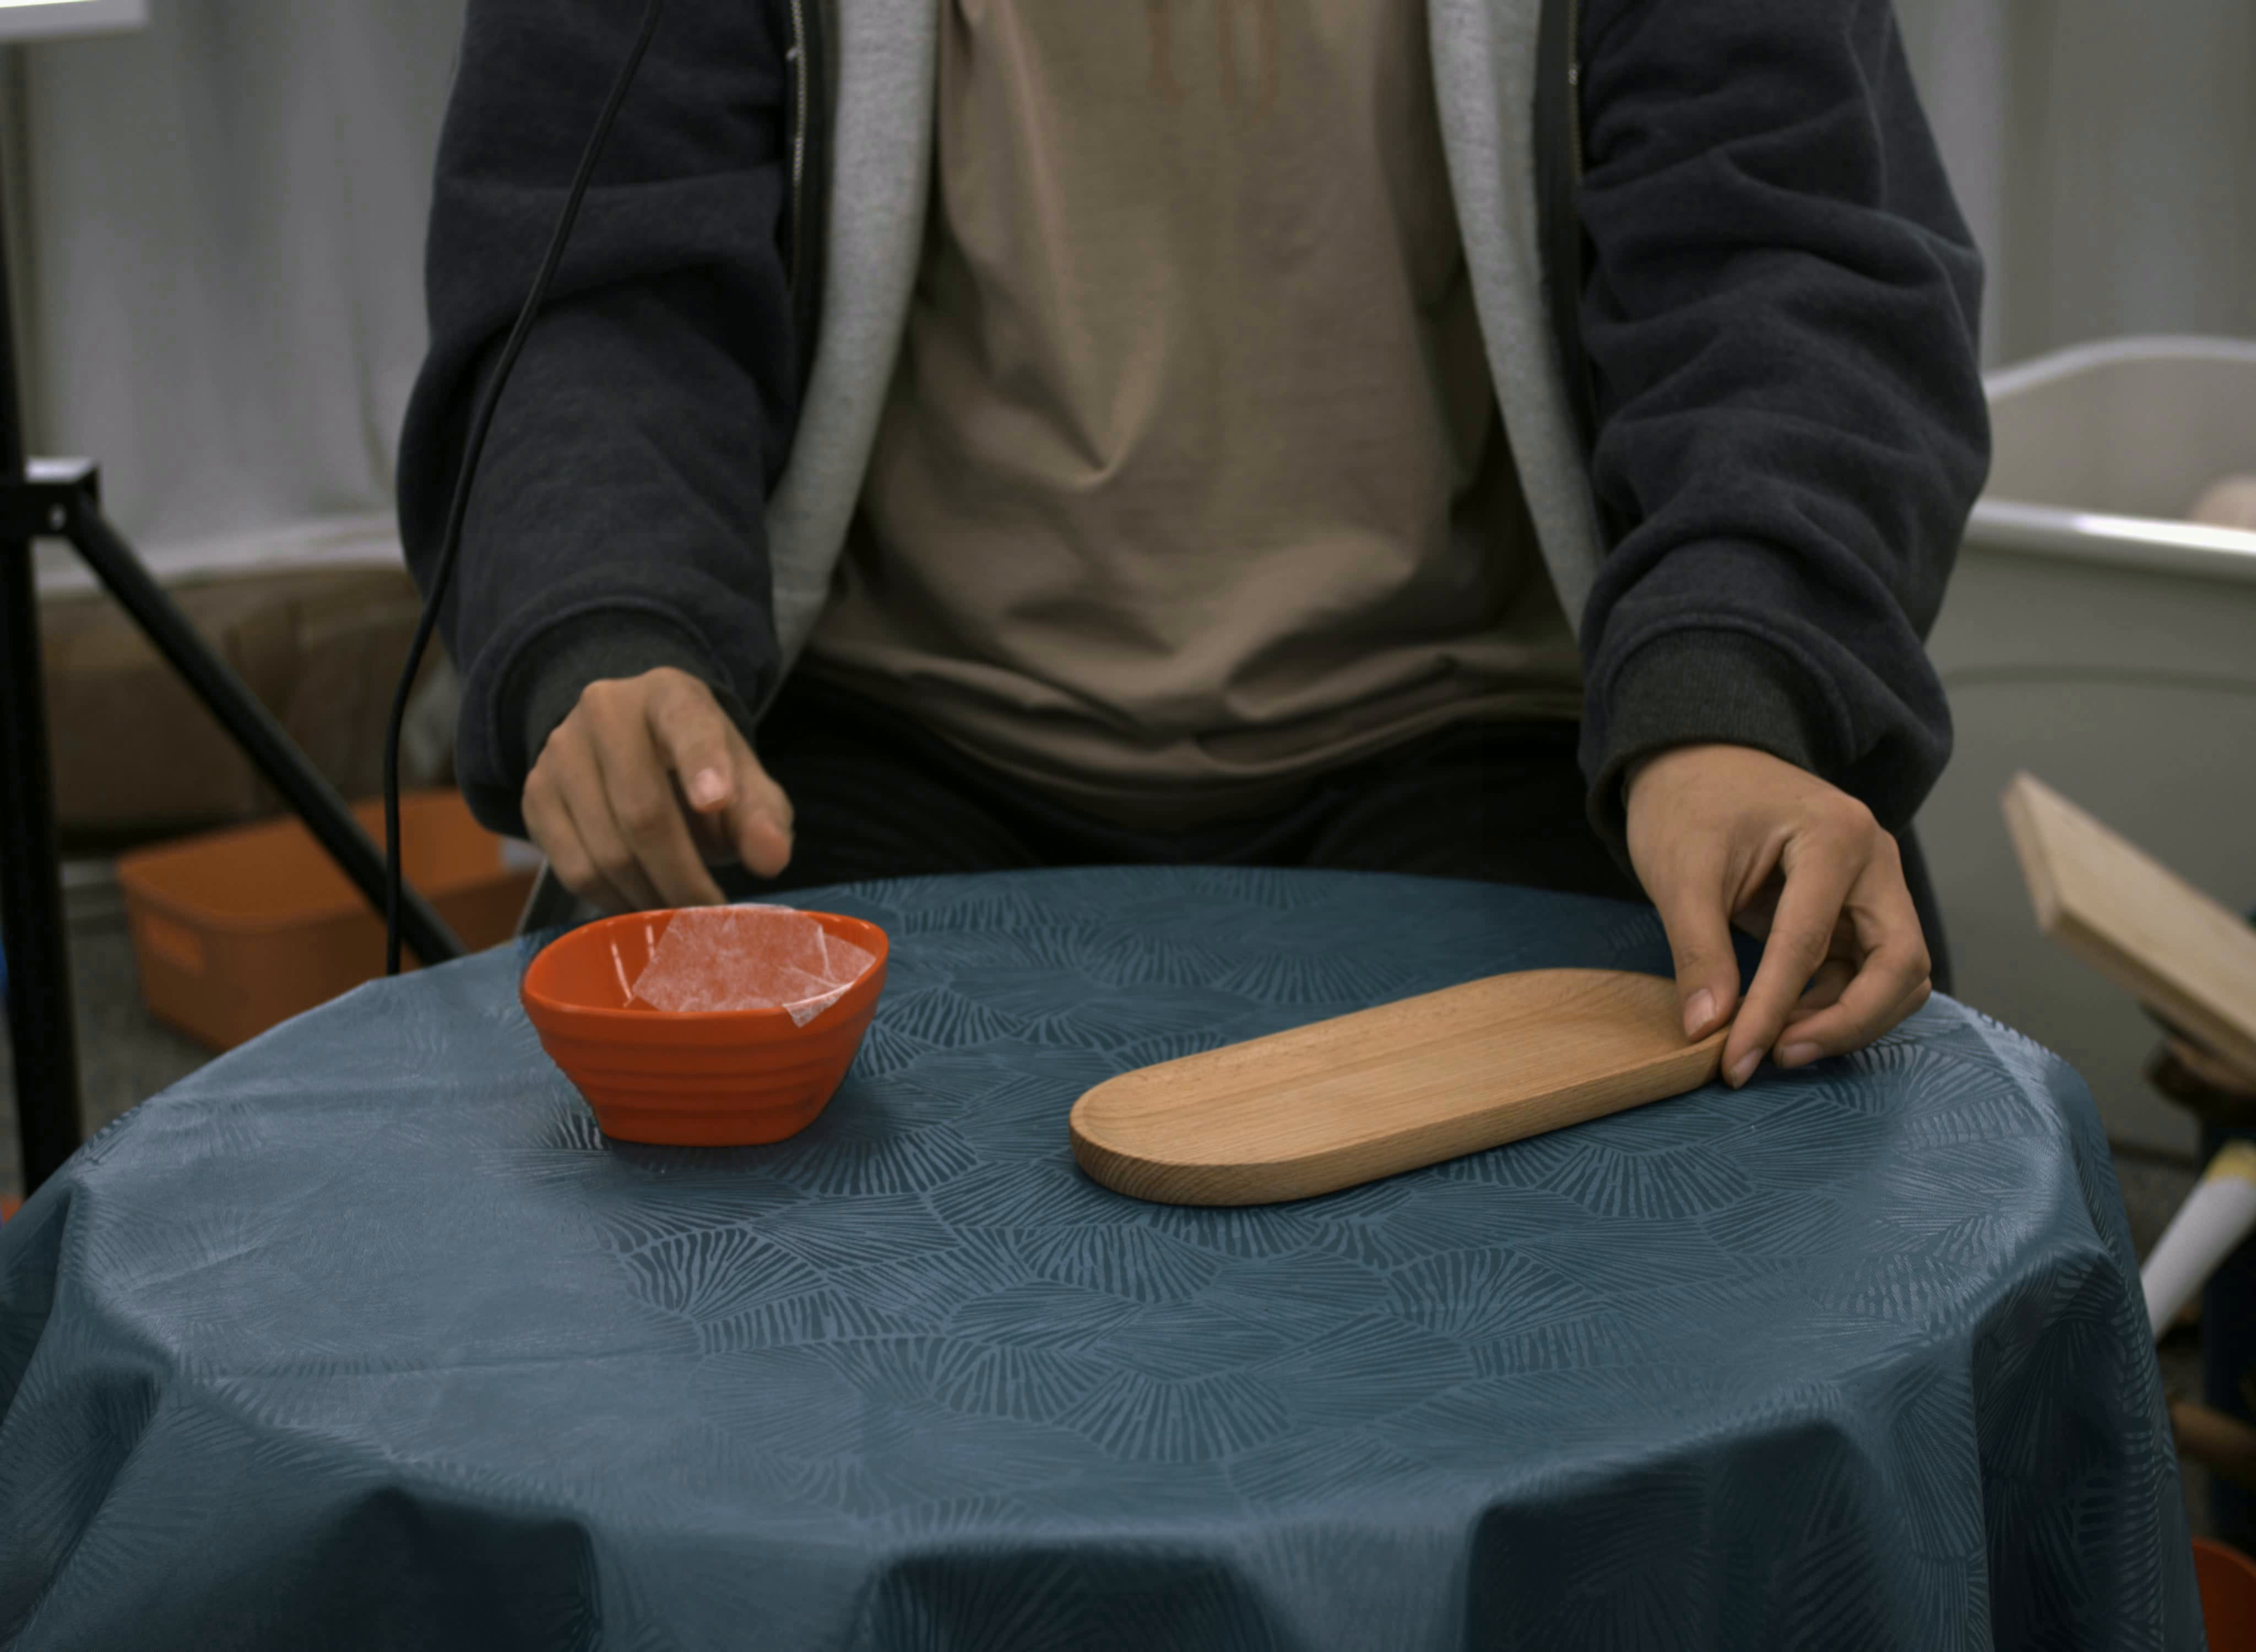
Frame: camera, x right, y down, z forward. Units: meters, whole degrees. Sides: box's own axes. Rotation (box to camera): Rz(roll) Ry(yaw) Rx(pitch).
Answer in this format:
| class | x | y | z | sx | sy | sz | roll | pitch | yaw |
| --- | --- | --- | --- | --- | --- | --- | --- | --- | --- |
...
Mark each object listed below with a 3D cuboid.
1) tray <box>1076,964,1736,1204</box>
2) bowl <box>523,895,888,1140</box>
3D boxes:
| class | x | y | z | sx | sy | sz | roll | pitch | yaw |
| --- | --- | --- | --- | --- | --- | --- | --- | --- | --- |
| tray | 0.087 | 0.078 | 1.621 | 0.226 | 0.020 | 0.104 | -12 | 19 | -34 |
| bowl | -0.128 | 0.062 | 1.644 | 0.118 | 0.051 | 0.119 | -4 | 17 | 0 |
